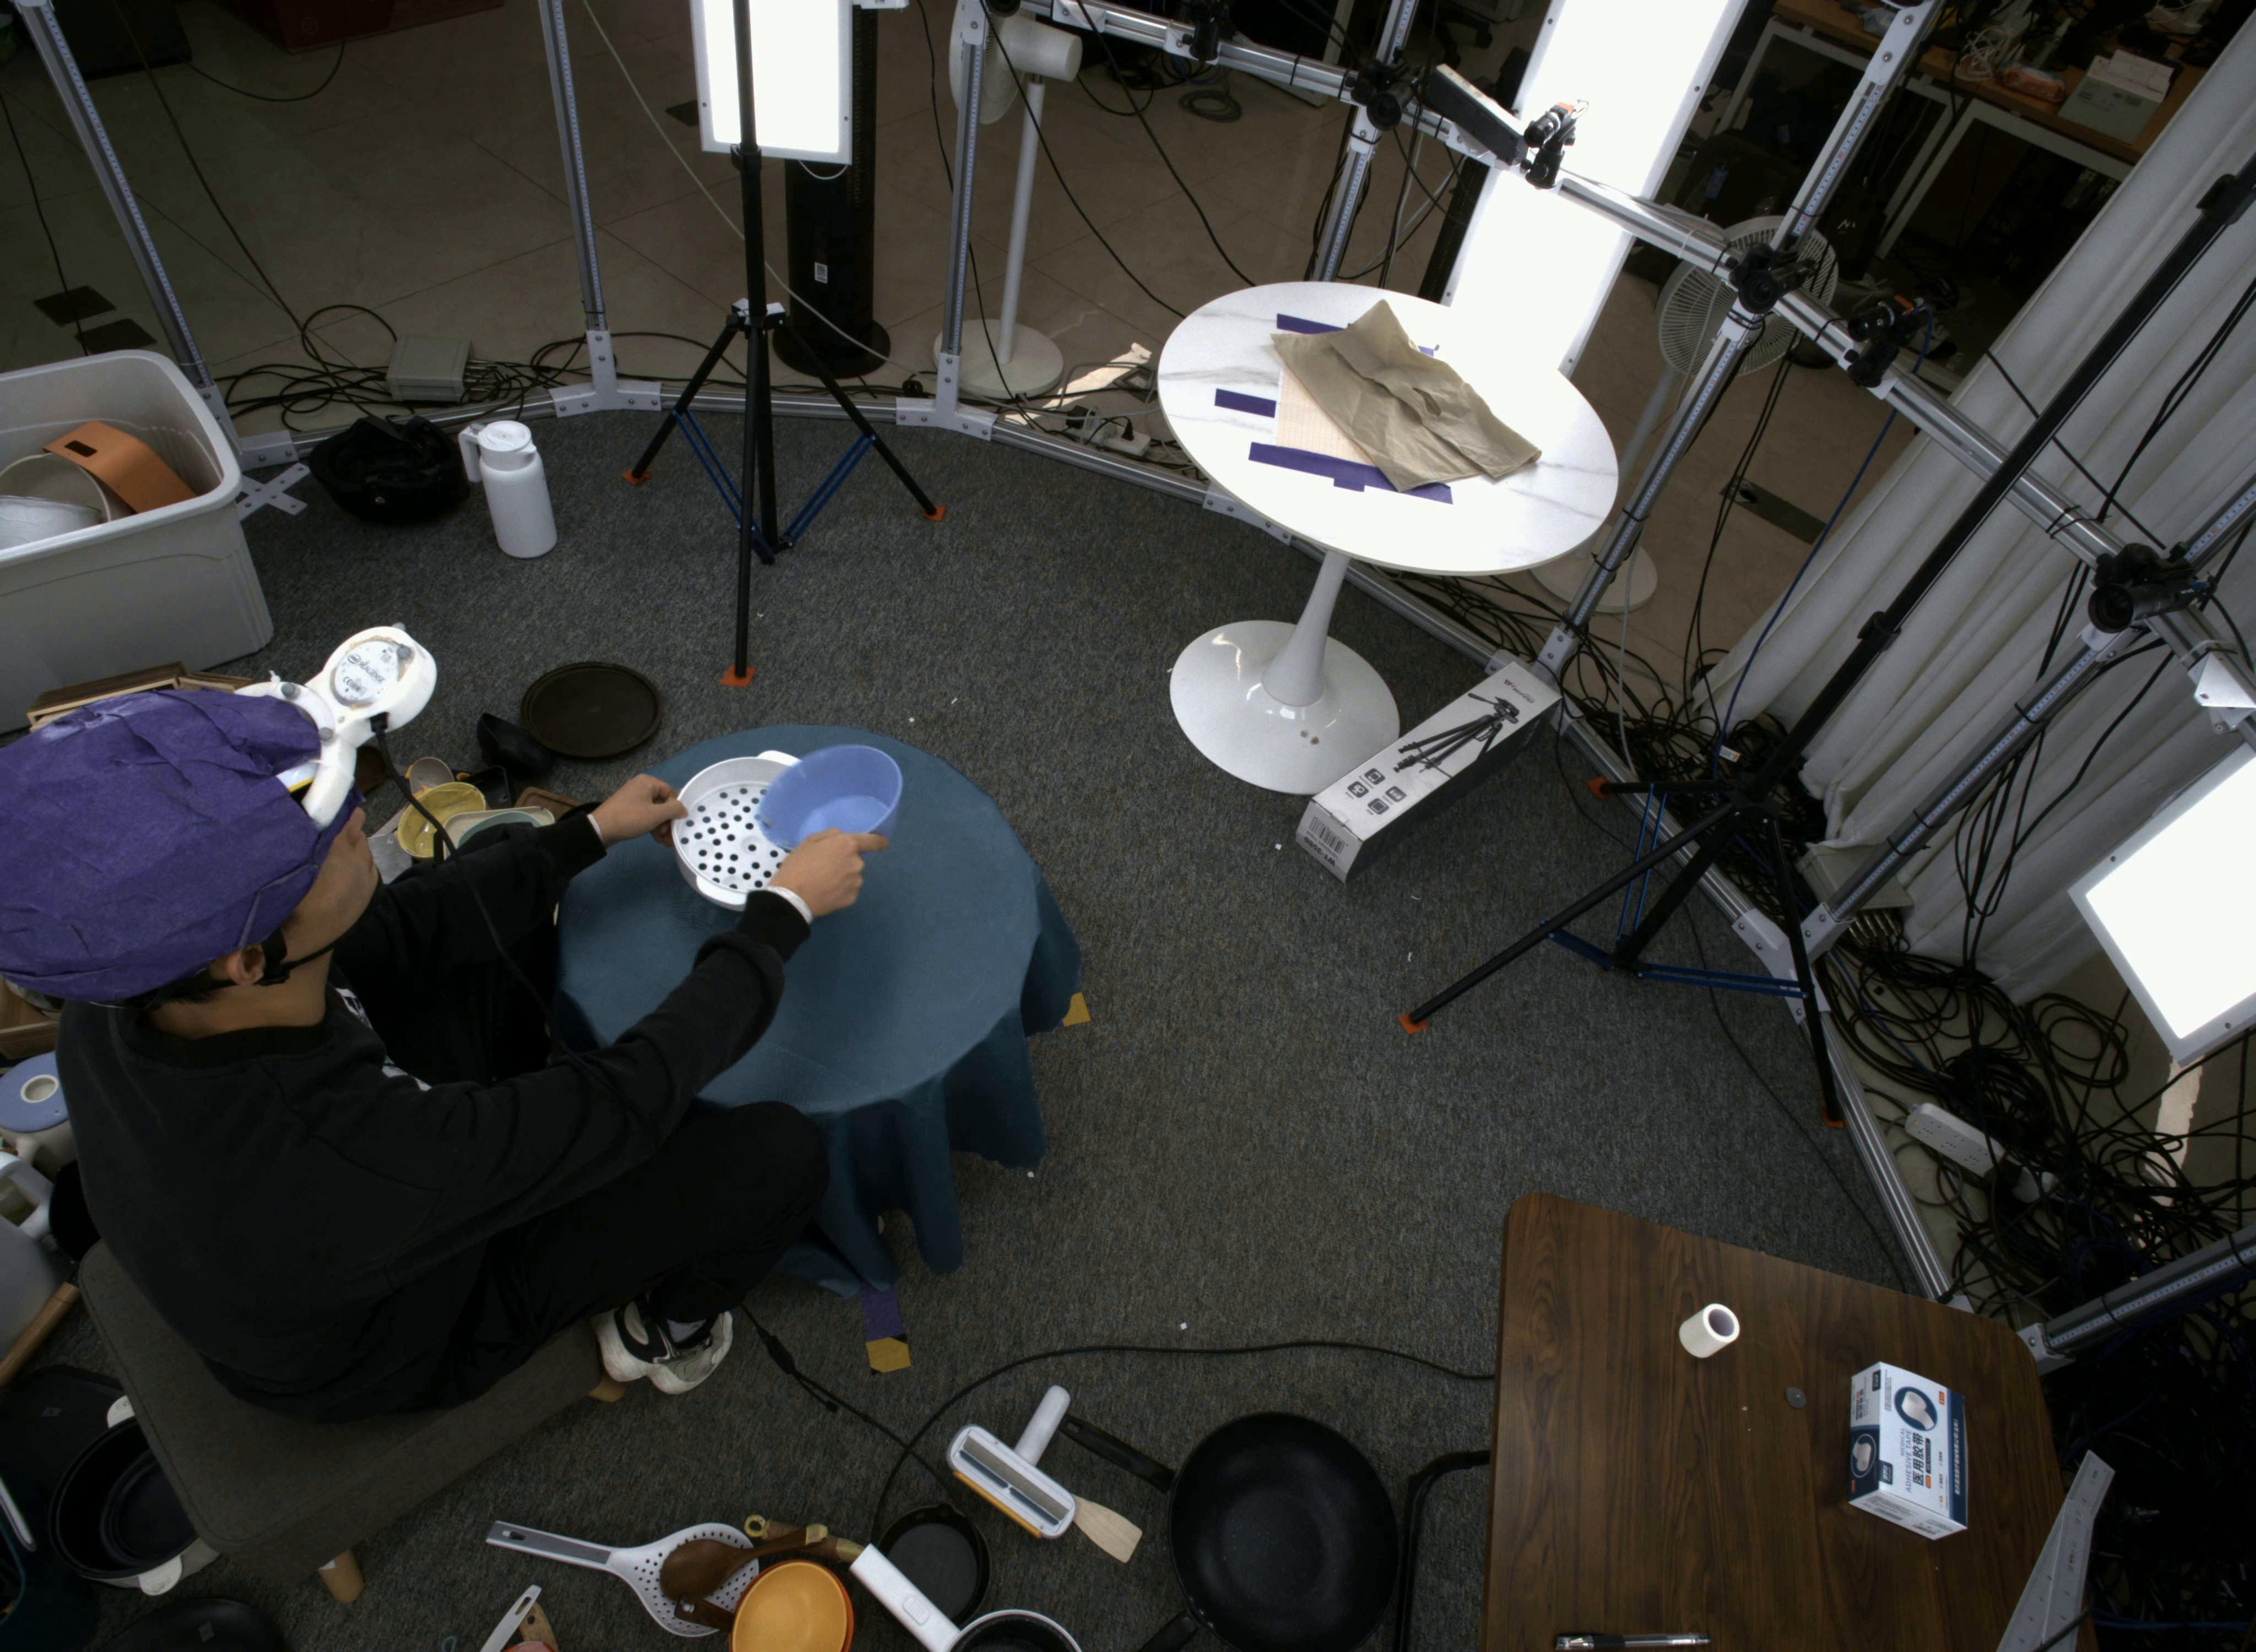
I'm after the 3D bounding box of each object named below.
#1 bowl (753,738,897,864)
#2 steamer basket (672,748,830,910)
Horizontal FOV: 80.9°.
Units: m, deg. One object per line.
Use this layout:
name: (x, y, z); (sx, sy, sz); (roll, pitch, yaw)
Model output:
bowl: (-0.351, -0.021, 1.548); (0.173, 0.073, 0.172); (-5, 47, 7)
steamer basket: (-0.472, 0.008, 1.634); (0.202, 0.070, 0.228); (21, 54, -9)
